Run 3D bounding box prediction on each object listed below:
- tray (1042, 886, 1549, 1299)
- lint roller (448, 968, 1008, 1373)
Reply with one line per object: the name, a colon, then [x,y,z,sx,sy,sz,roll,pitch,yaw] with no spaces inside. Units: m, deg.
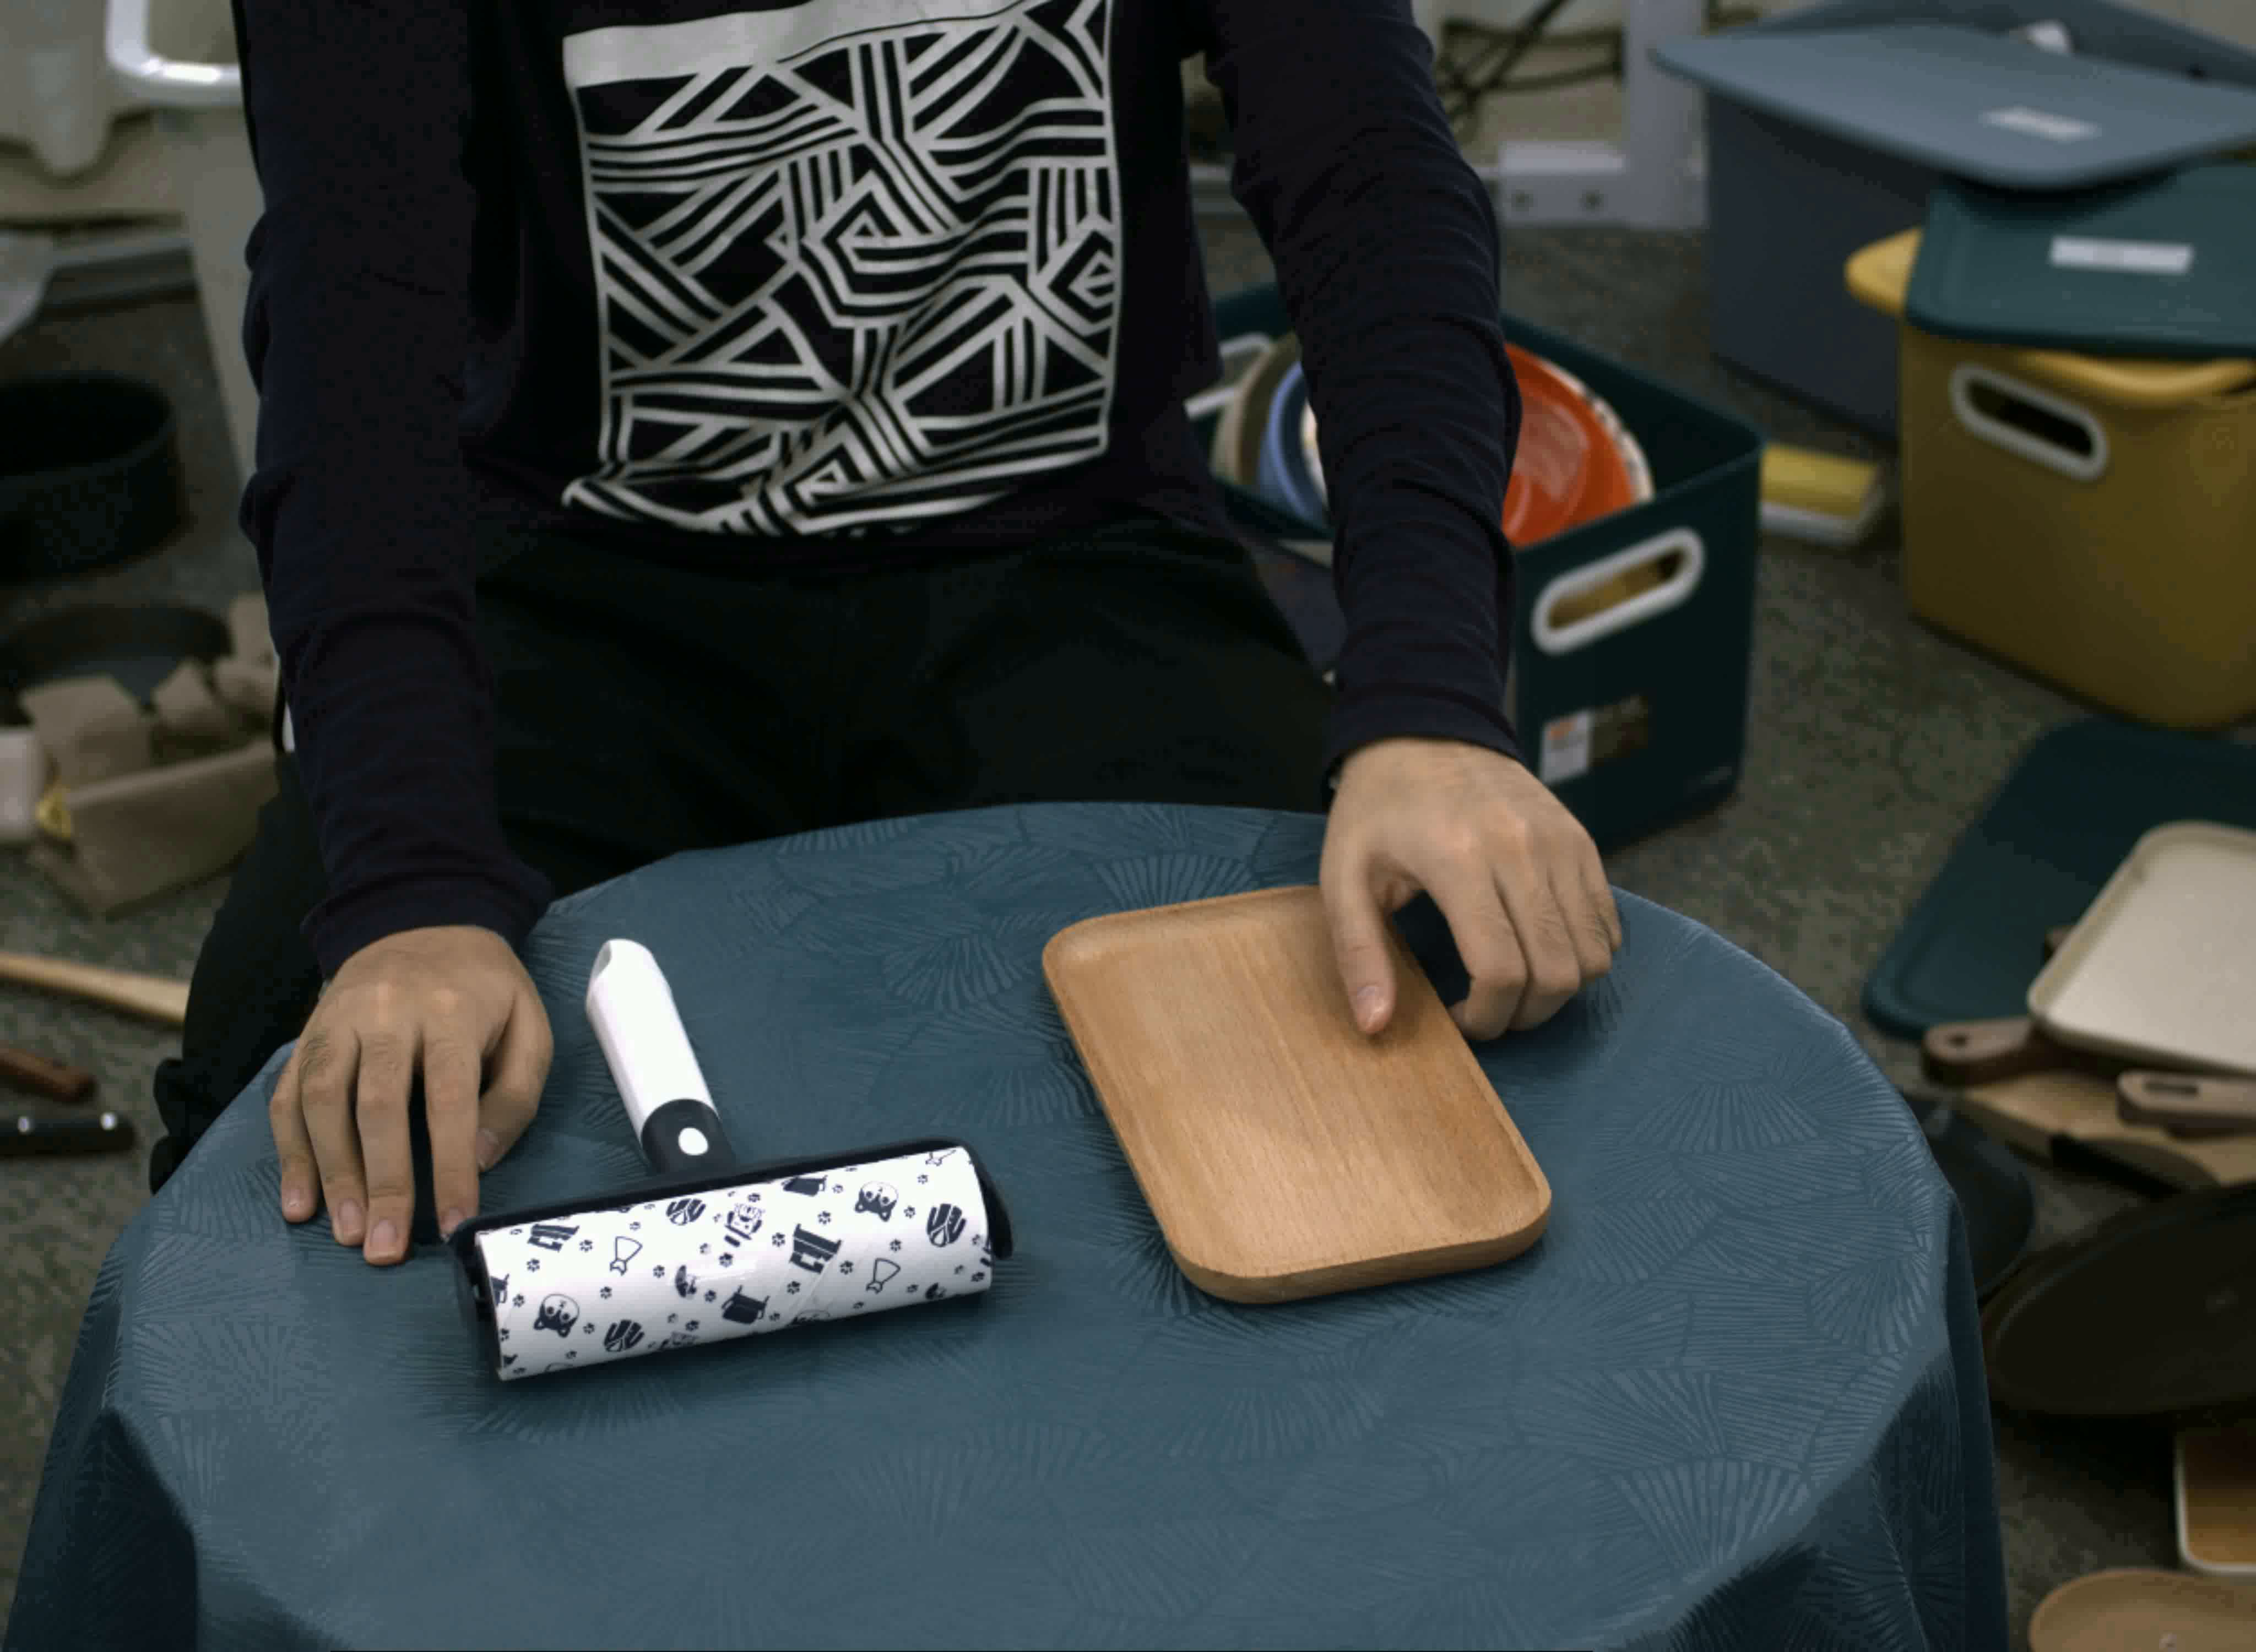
tray: [0.053,0.088,1.906,0.130,0.022,0.253,-5,26,-11]
lint roller: [-0.153,0.099,1.878,0.176,0.050,0.249,-10,25,-12]
